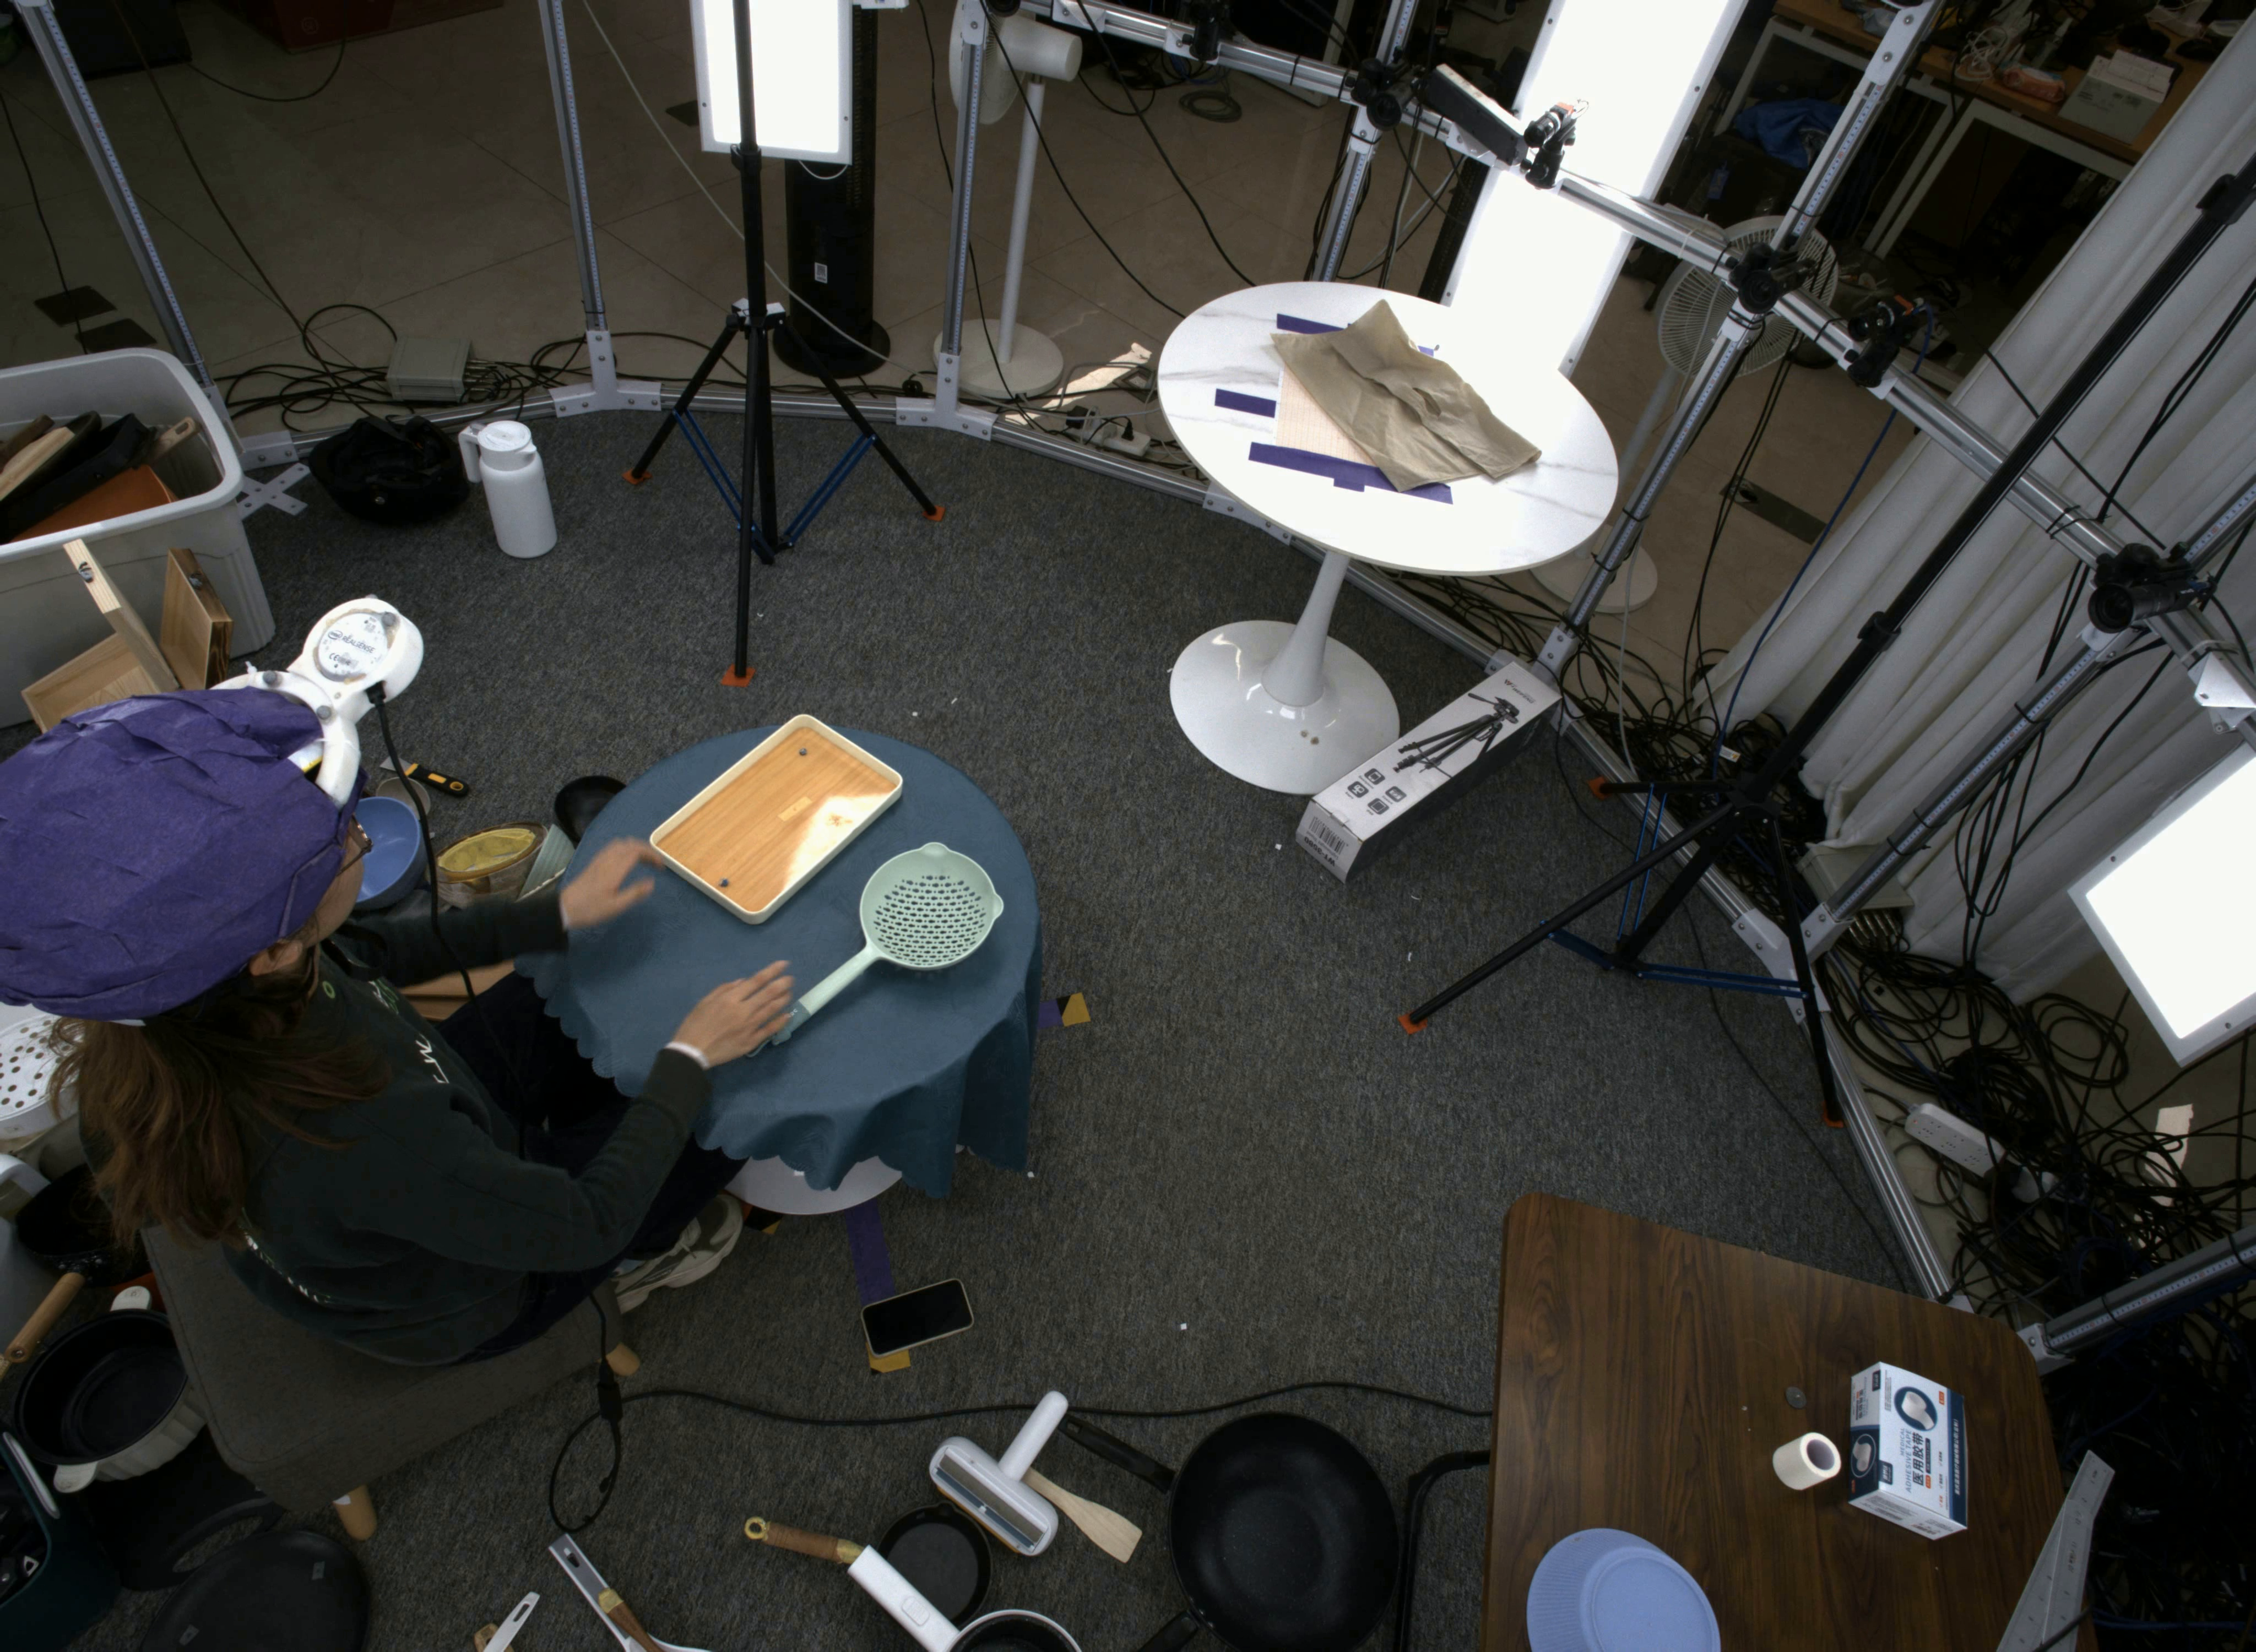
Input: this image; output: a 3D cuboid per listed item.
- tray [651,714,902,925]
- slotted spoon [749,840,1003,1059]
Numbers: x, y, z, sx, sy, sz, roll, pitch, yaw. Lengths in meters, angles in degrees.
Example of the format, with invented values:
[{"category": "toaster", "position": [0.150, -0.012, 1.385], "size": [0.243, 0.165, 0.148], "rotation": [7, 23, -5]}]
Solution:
[{"category": "tray", "position": [-0.460, -0.017, 1.716], "size": [0.188, 0.028, 0.300], "rotation": [33, 53, 11]}, {"category": "slotted spoon", "position": [-0.318, 0.159, 1.596], "size": [0.165, 0.077, 0.359], "rotation": [41, 55, 19]}]
